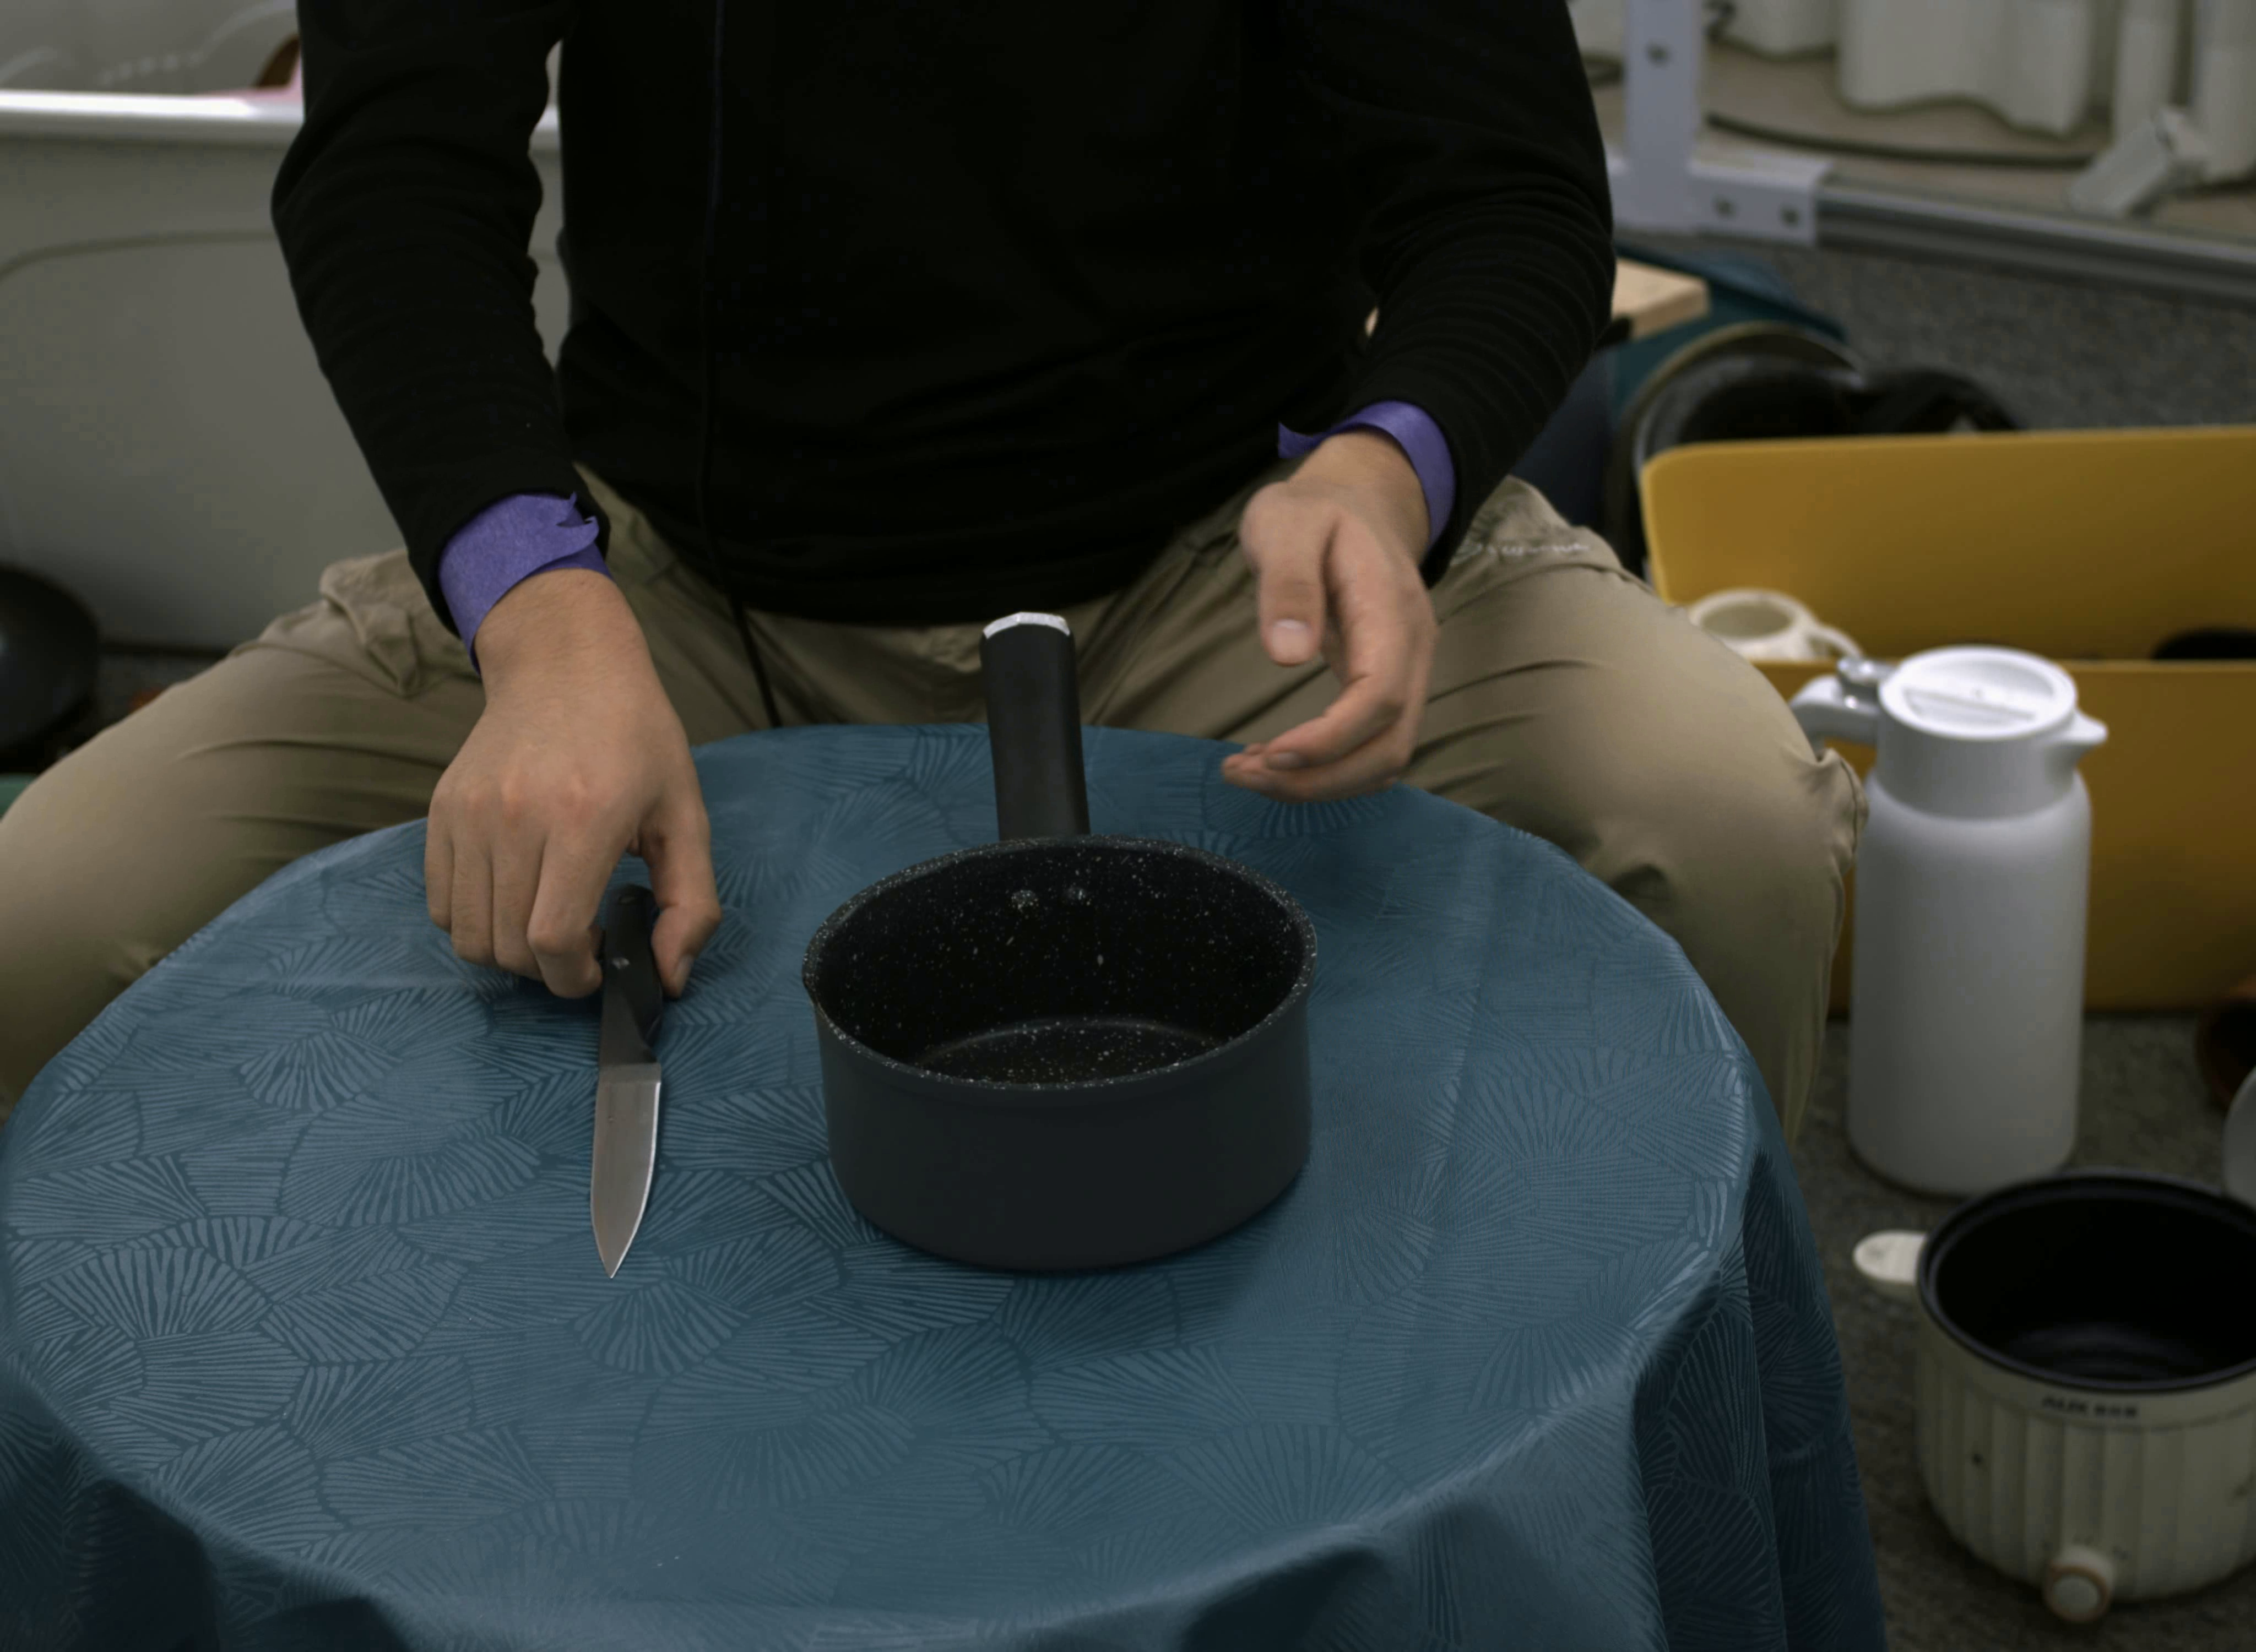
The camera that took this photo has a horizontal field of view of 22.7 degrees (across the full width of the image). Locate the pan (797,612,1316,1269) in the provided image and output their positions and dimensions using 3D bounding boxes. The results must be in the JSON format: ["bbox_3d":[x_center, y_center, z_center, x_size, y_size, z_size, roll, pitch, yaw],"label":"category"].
[{"bbox_3d":[-0.022,0.036,1.937,0.171,0.085,0.334,-2,28,1],"label":"pan"}]

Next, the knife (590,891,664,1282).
[{"bbox_3d":[-0.173,0.088,1.928,0.024,0.016,0.242,-4,30,-1],"label":"knife"}]
